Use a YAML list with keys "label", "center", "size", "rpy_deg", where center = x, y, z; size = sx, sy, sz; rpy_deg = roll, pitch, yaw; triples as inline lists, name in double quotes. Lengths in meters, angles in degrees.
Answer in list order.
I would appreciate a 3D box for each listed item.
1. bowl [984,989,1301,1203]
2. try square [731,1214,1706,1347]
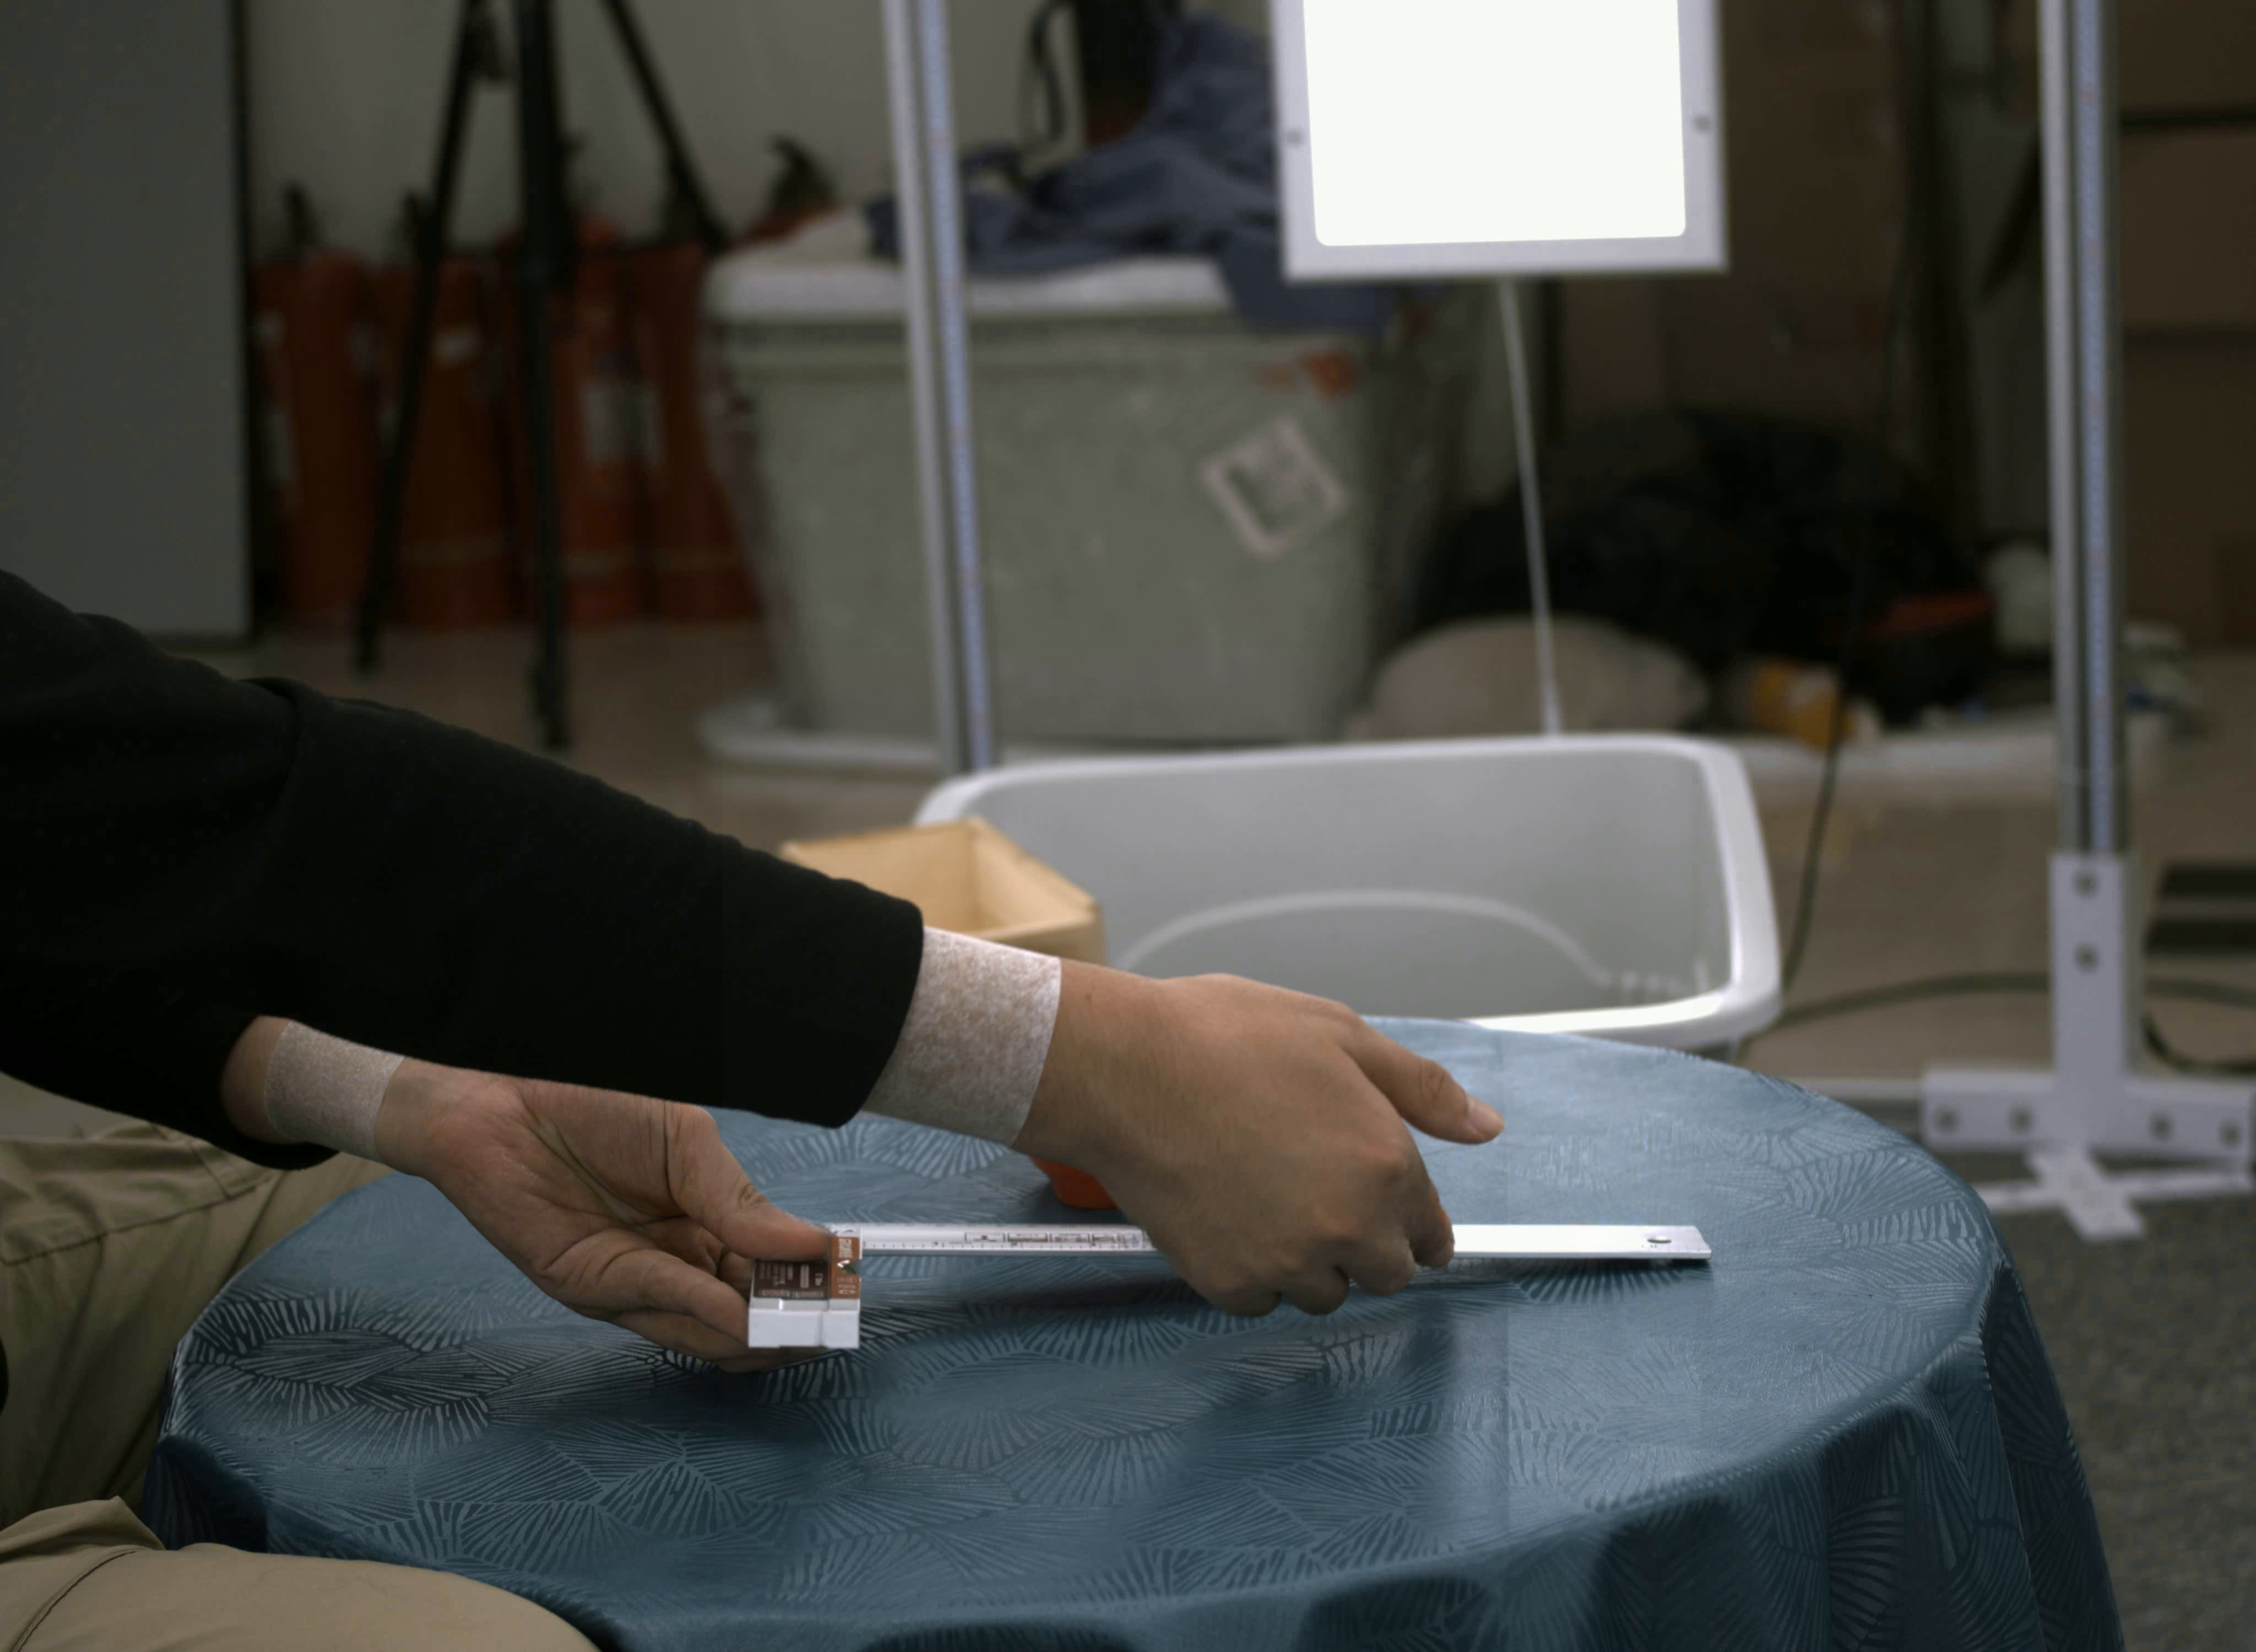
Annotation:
- label: "bowl"
  center: [0.005, 0.096, 1.905]
  size: [0.118, 0.051, 0.119]
  rpy_deg: [-2, 15, -1]
- label: "try square"
  center: [0.033, 0.142, 1.735]
  size: [0.312, 0.016, 0.152]
  rpy_deg: [0, 8, 0]
